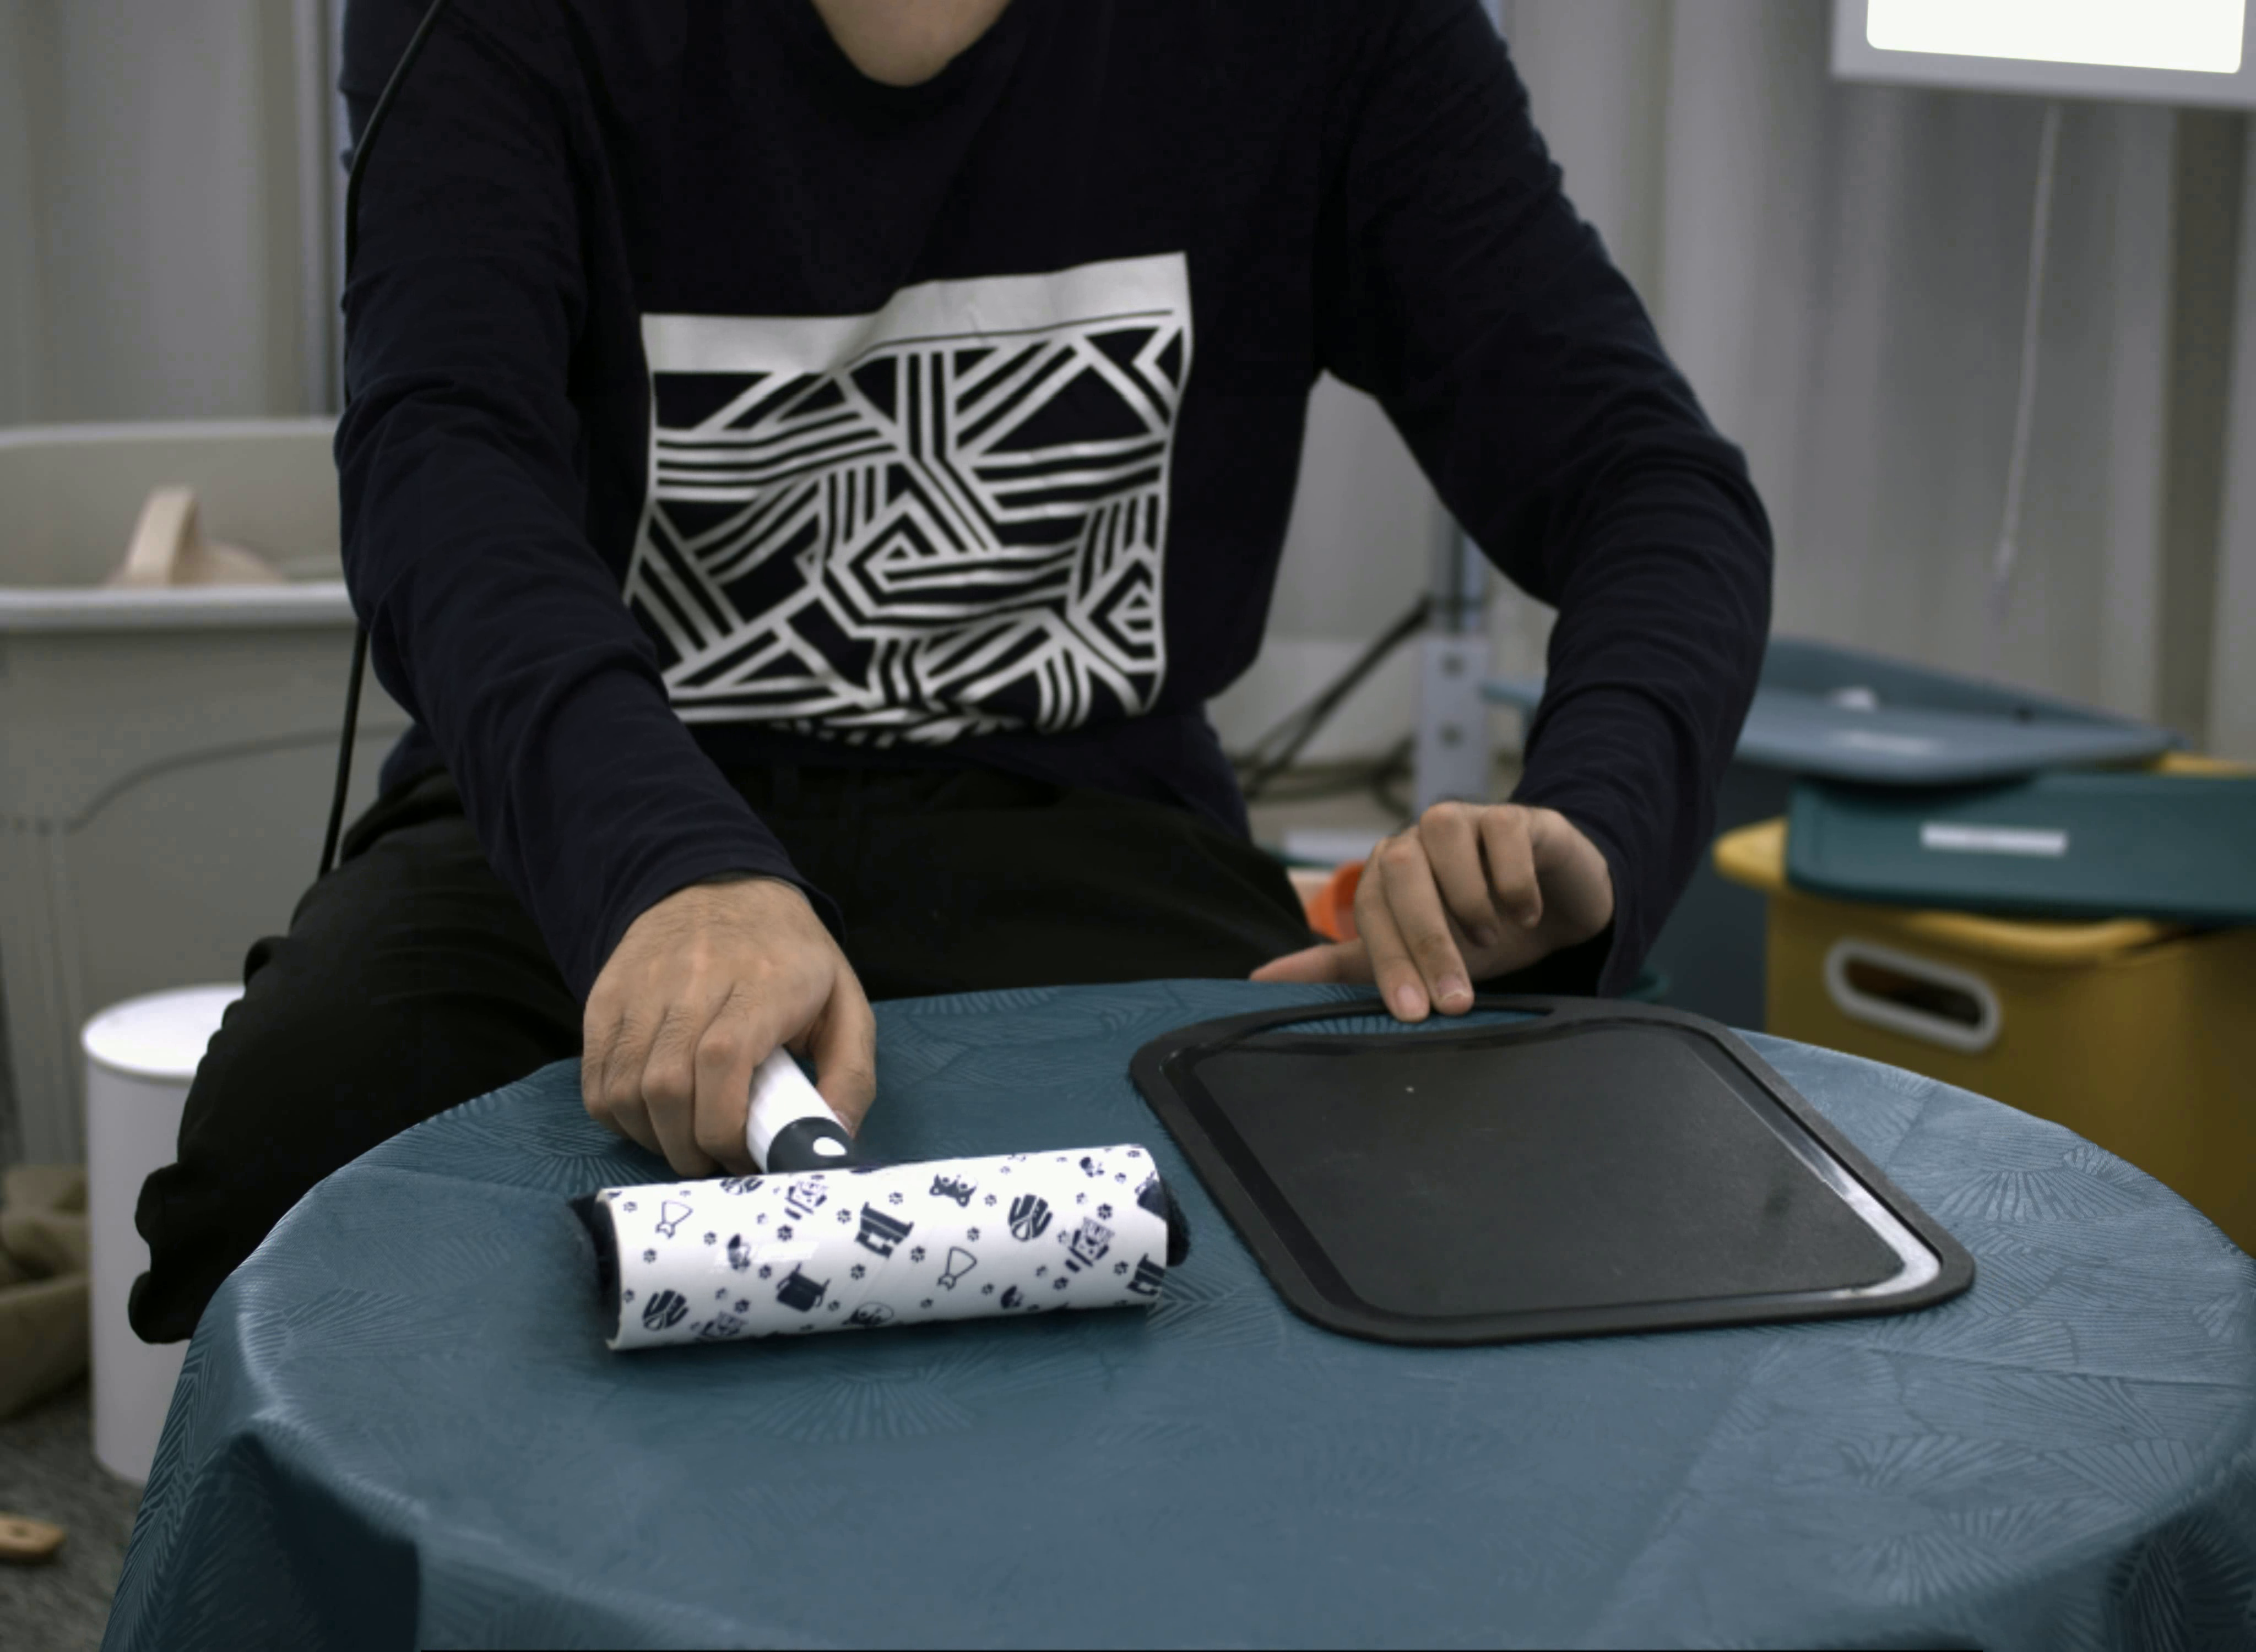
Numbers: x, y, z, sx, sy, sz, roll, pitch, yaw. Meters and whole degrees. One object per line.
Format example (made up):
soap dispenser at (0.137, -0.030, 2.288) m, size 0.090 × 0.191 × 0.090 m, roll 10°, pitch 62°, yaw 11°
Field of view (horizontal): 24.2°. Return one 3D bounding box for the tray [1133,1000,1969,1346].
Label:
tray at (0.122, 0.102, 1.657) m, size 0.211 × 0.010 × 0.322 m, roll -2°, pitch 15°, yaw -11°

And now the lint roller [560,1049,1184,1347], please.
lint roller at (-0.100, 0.098, 1.598) m, size 0.176 × 0.051 × 0.245 m, roll -5°, pitch 13°, yaw -16°
